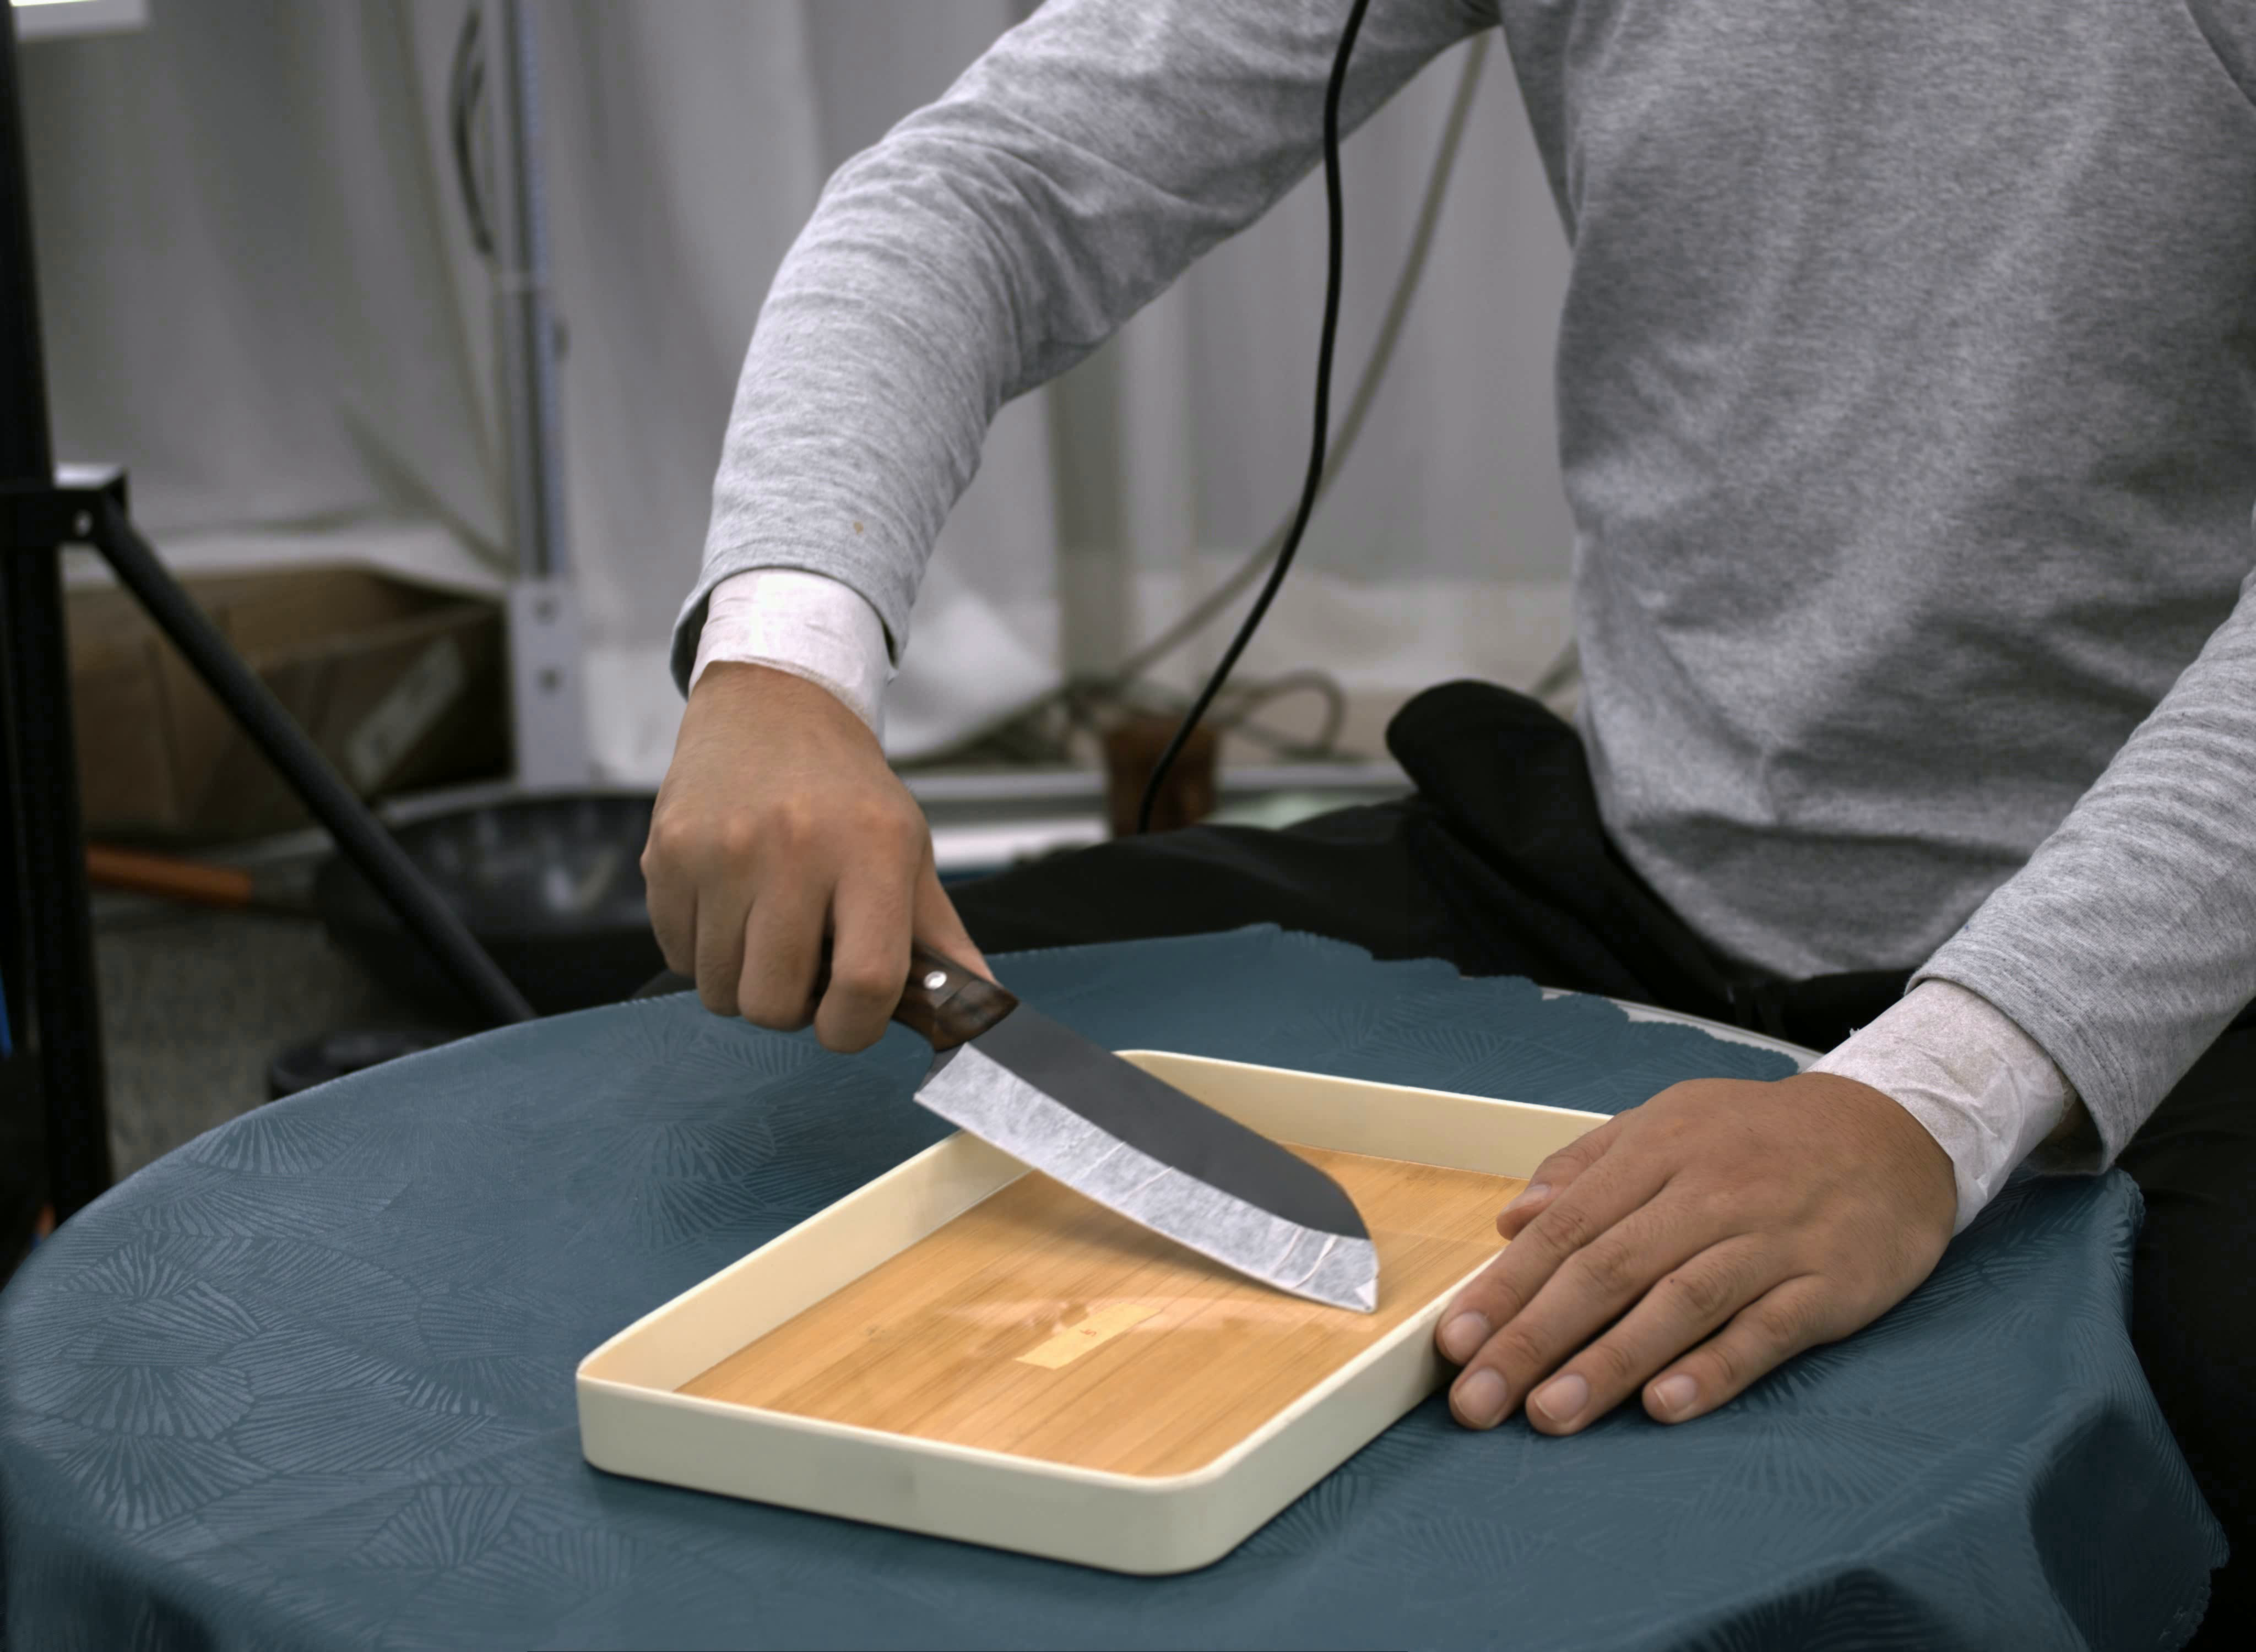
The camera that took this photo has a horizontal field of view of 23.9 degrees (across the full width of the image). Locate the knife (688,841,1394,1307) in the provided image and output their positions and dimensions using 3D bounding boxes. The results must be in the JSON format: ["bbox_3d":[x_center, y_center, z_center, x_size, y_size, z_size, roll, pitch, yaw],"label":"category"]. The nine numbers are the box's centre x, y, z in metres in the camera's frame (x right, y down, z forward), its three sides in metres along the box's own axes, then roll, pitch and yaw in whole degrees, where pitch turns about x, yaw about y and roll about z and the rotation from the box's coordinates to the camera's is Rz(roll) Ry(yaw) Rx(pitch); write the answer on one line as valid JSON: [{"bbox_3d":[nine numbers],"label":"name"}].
[{"bbox_3d":[-0.029,0.070,1.537,0.295,0.020,0.050,30,66,38],"label":"knife"}]

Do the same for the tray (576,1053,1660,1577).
[{"bbox_3d":[0.005,0.127,1.448,0.195,0.027,0.295,7,18,29],"label":"tray"}]
